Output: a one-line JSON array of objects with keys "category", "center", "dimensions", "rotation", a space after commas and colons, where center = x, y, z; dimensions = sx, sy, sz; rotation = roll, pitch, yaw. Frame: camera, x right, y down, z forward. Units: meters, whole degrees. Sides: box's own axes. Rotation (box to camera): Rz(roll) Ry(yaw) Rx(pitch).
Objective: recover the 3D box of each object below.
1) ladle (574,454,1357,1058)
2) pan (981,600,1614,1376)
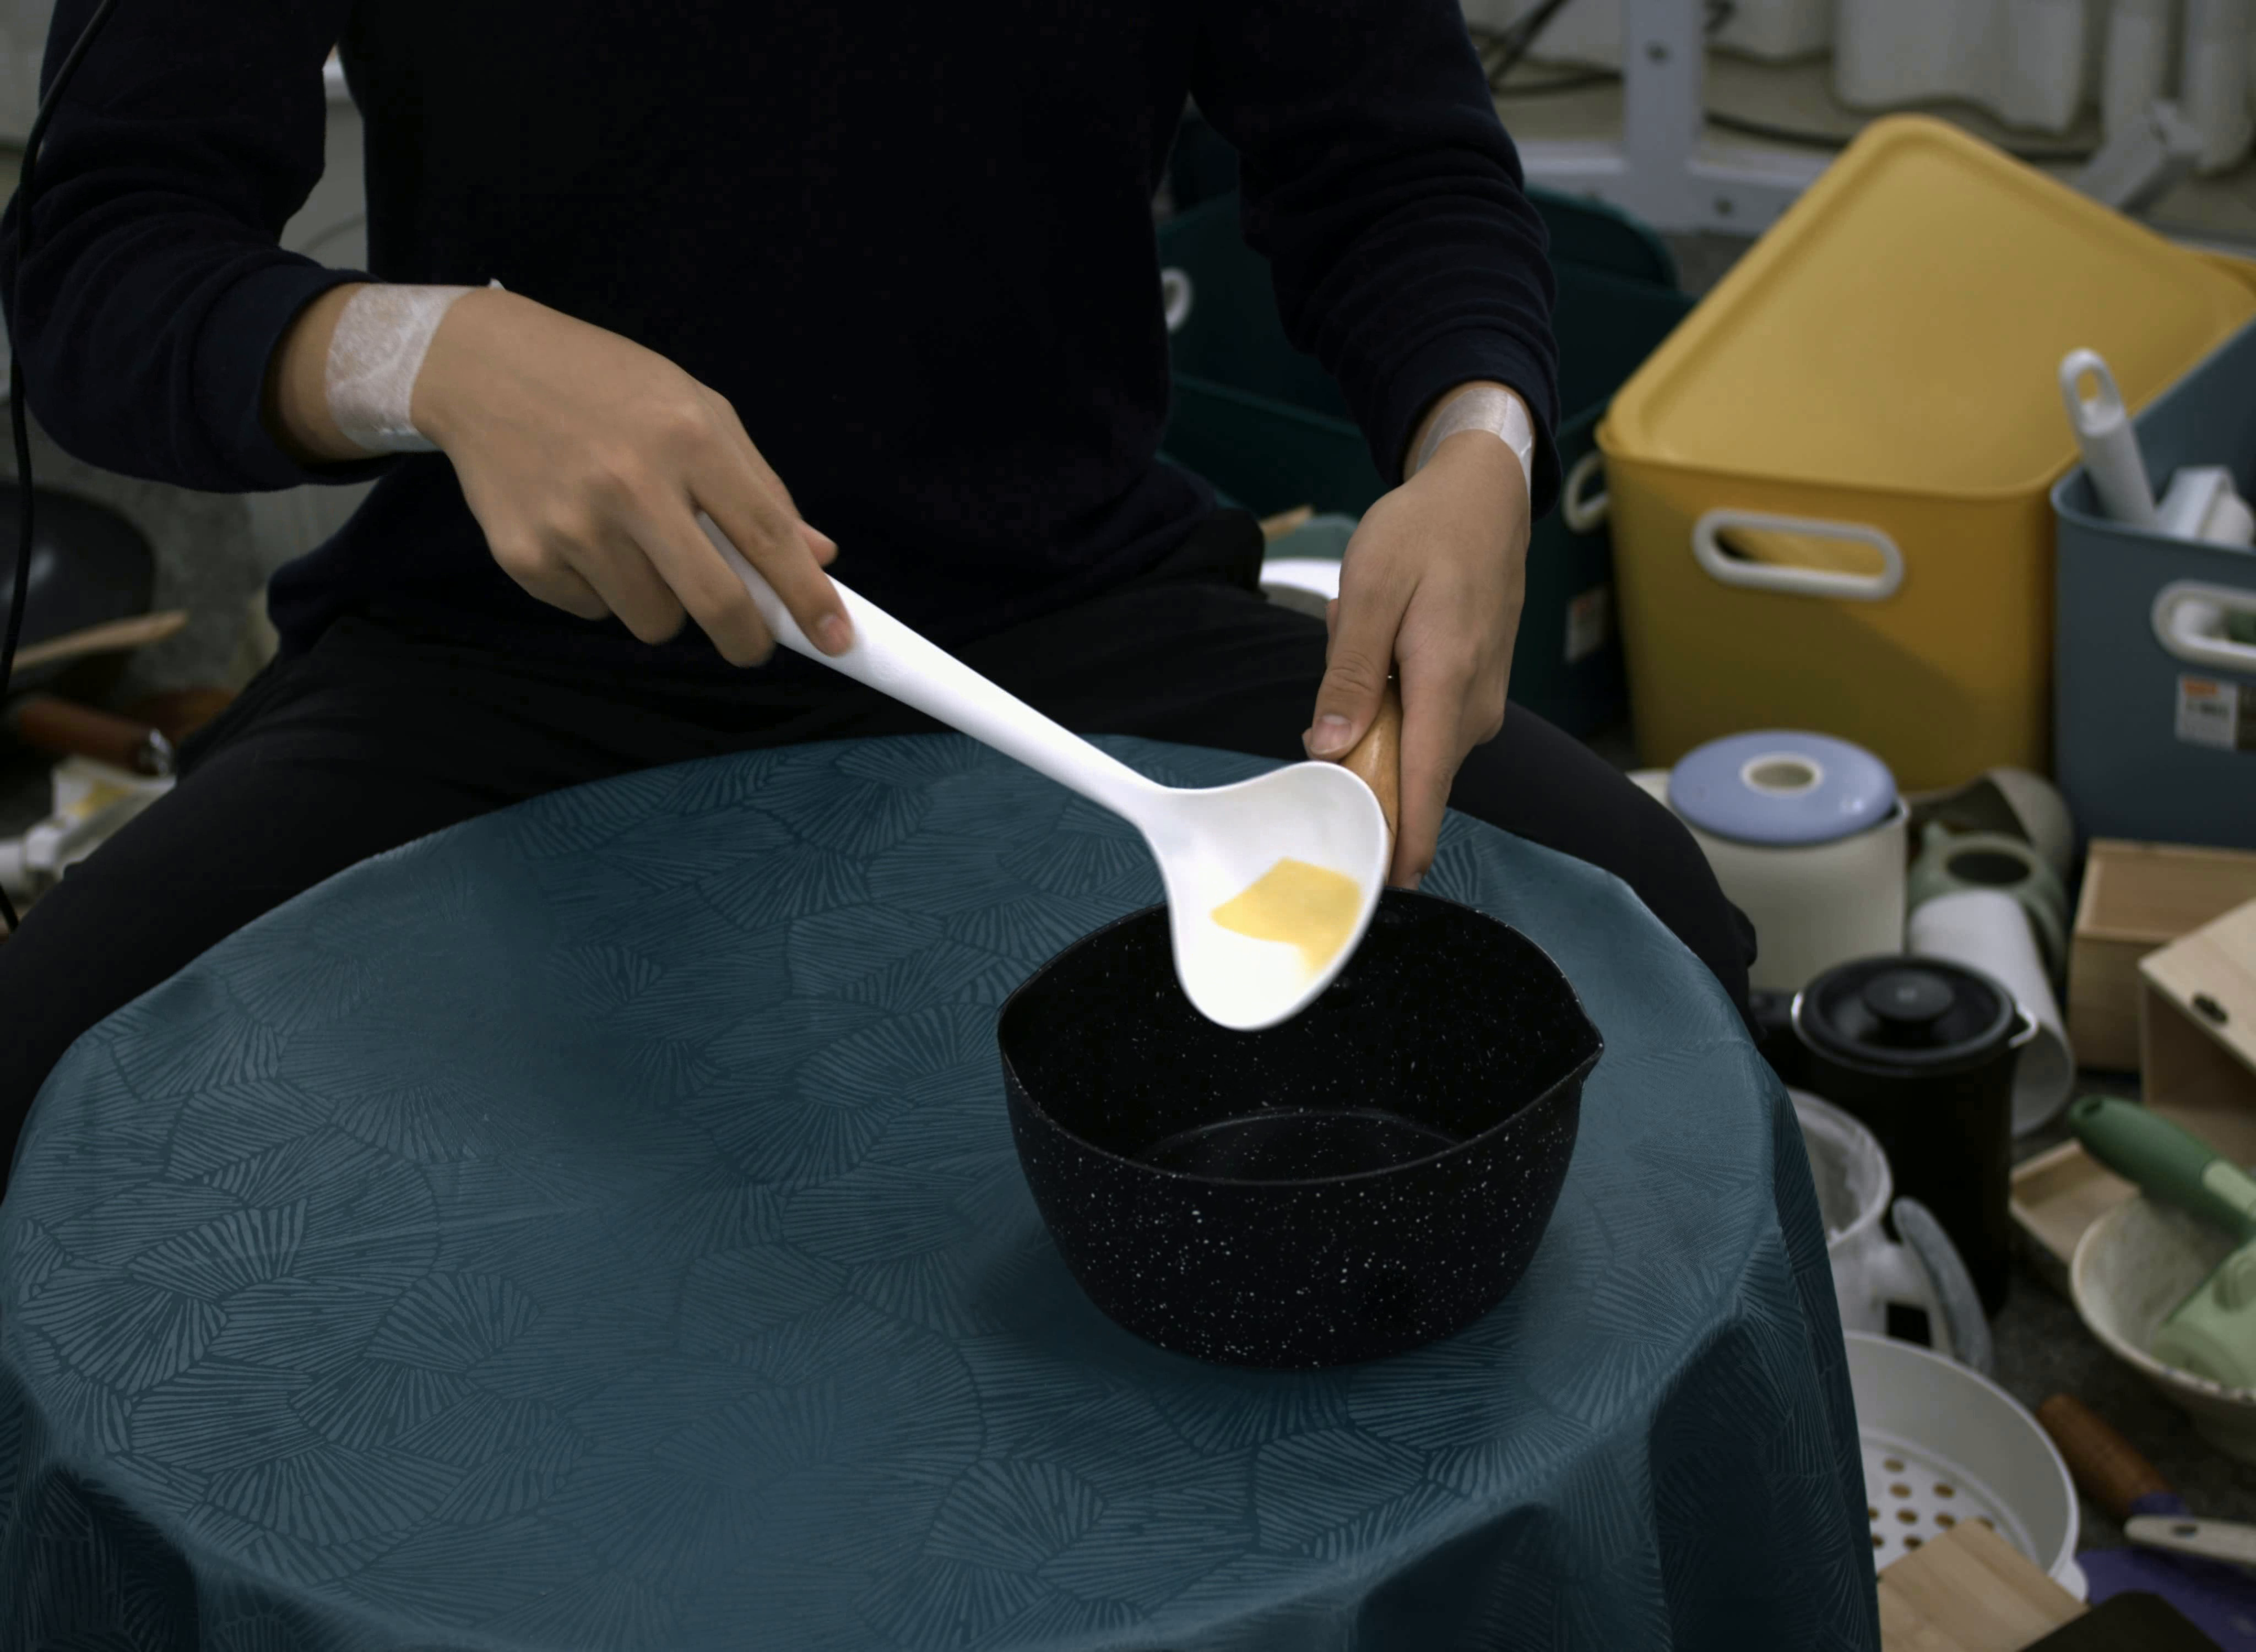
[{"category": "ladle", "center": [-0.055, -0.031, 1.789], "dimensions": [0.293, 0.090, 0.070], "rotation": [32, 11, 9]}, {"category": "pan", "center": [0.066, 0.050, 1.872], "dimensions": [0.206, 0.107, 0.349], "rotation": [1, 30, 10]}]
